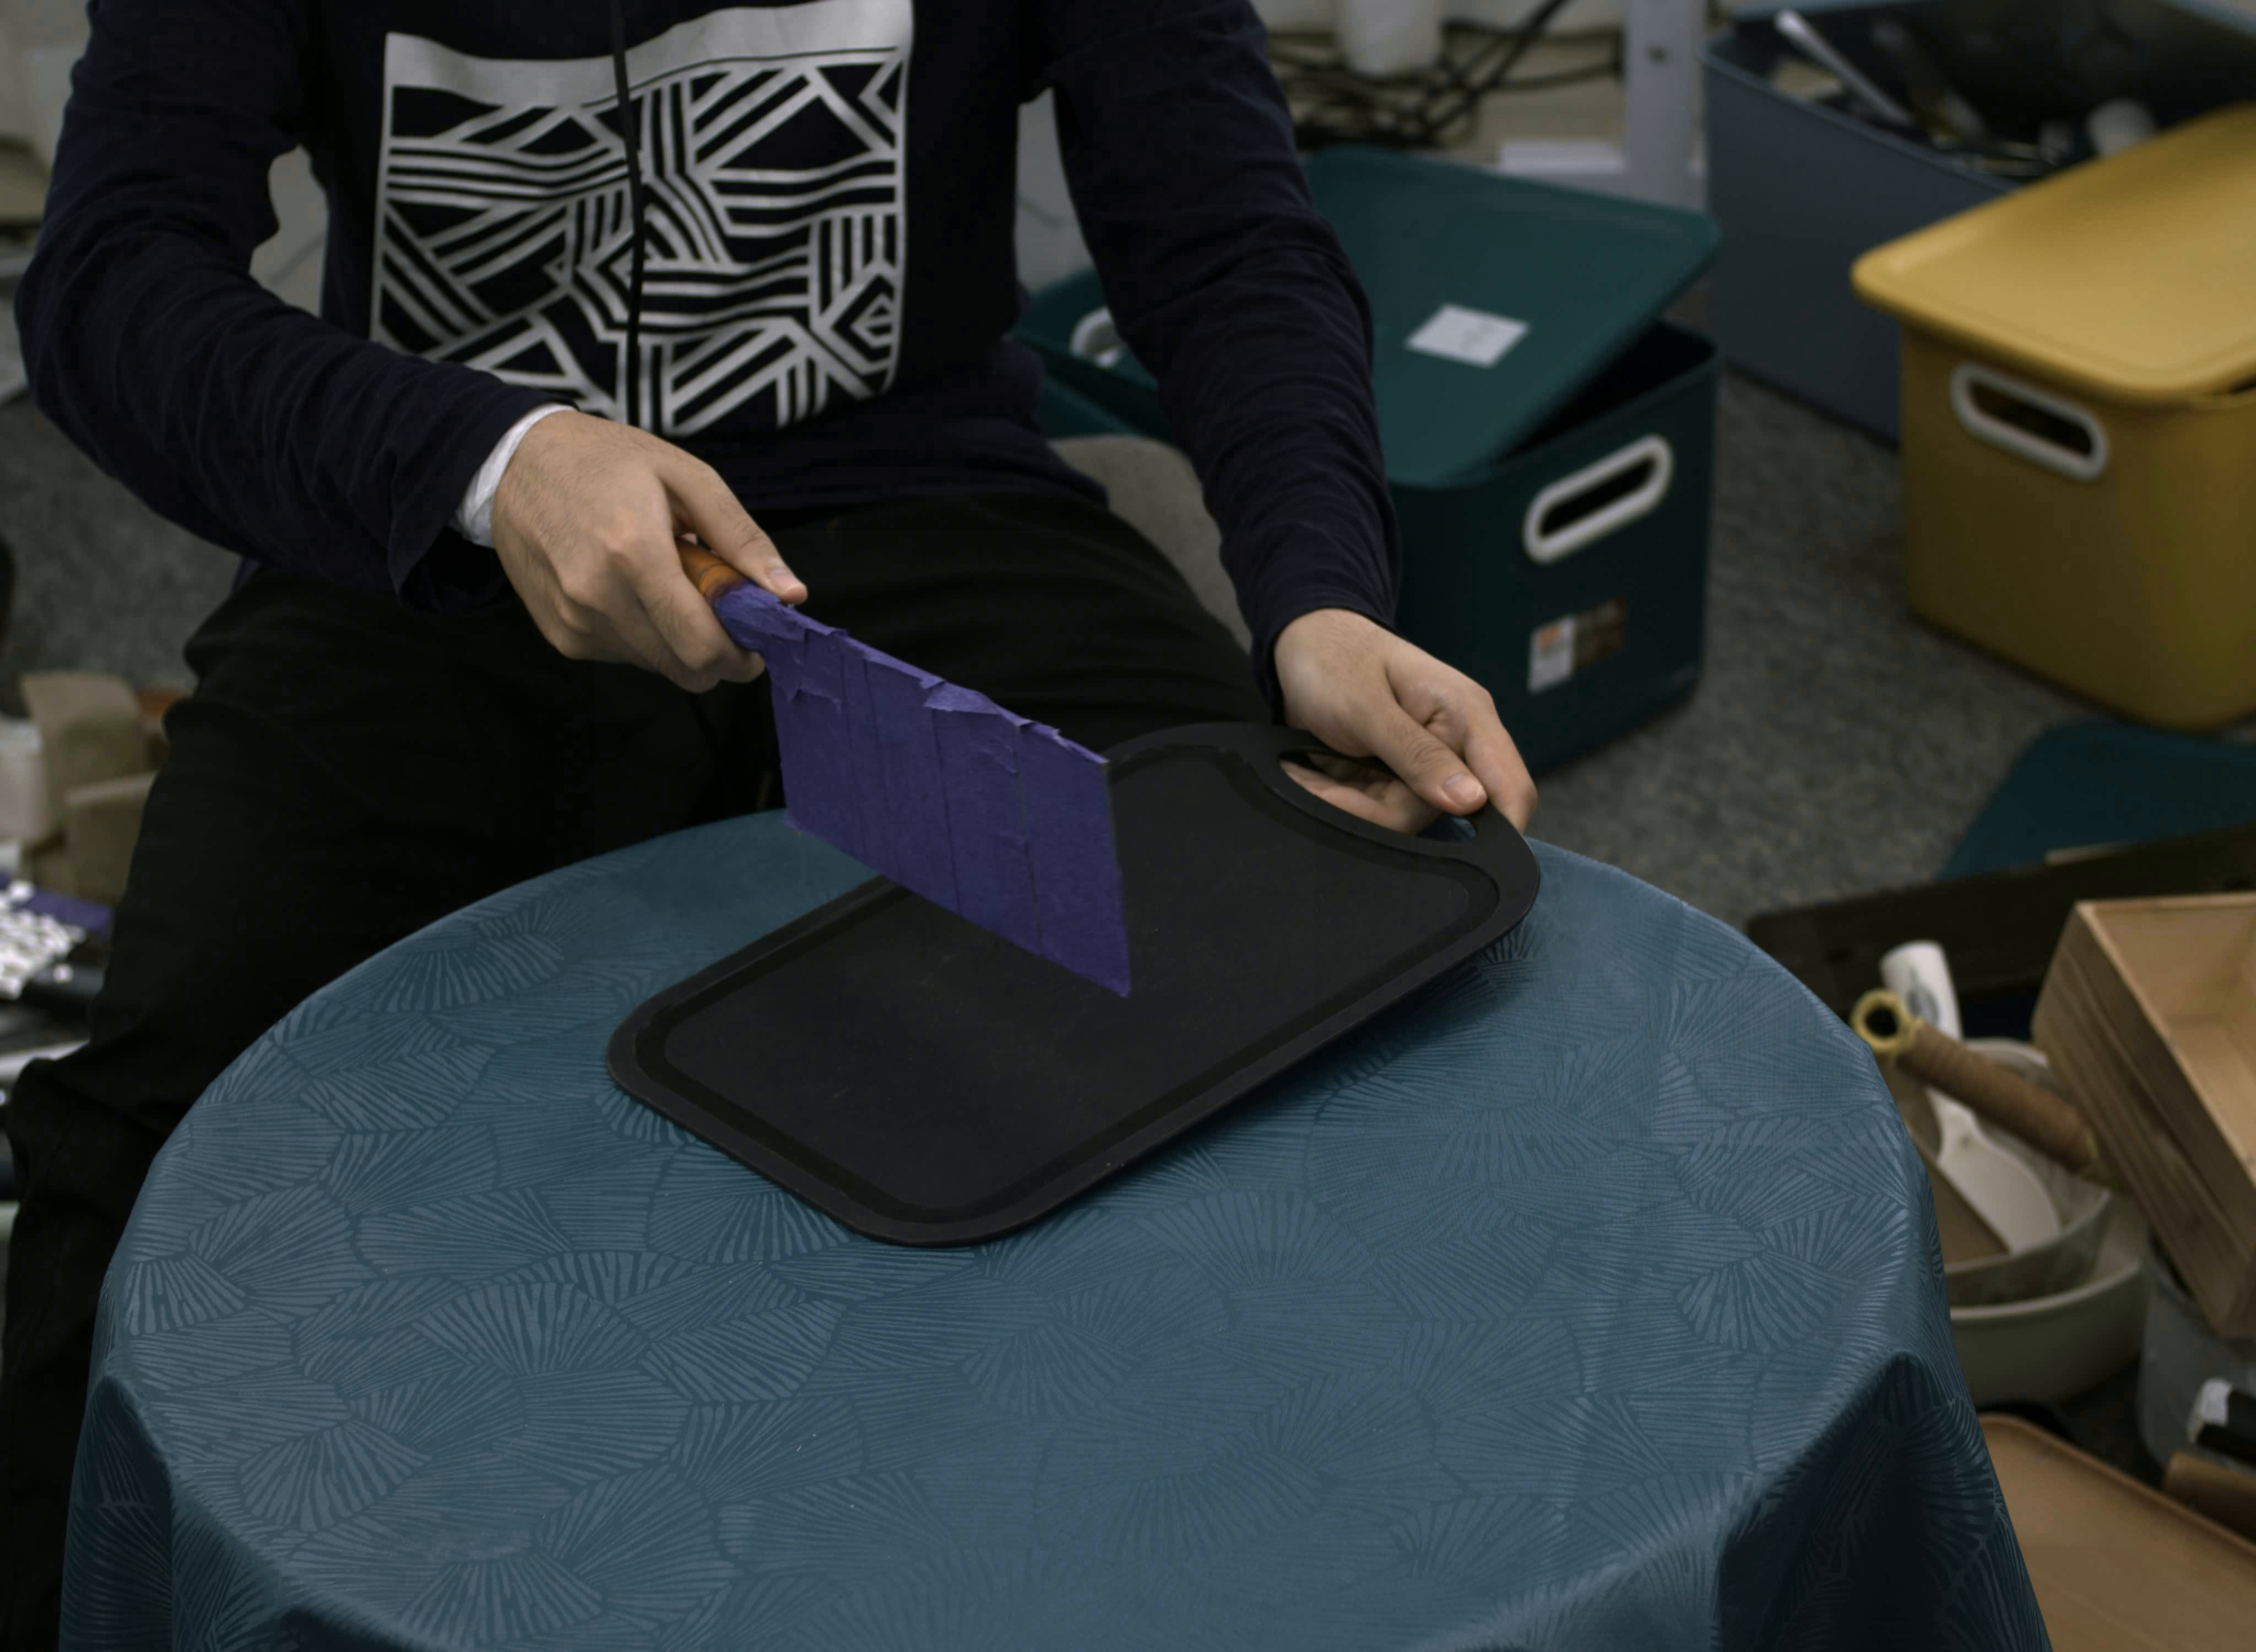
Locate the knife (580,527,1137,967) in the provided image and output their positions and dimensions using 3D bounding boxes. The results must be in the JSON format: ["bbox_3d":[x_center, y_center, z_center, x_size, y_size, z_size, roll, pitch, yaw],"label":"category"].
[{"bbox_3d":[-0.097,-0.027,1.962,0.032,0.103,0.315,-17,26,-31],"label":"knife"}]

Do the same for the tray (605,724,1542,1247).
[{"bbox_3d":[-0.012,0.045,1.976,0.329,0.009,0.211,-28,37,-32],"label":"tray"}]
